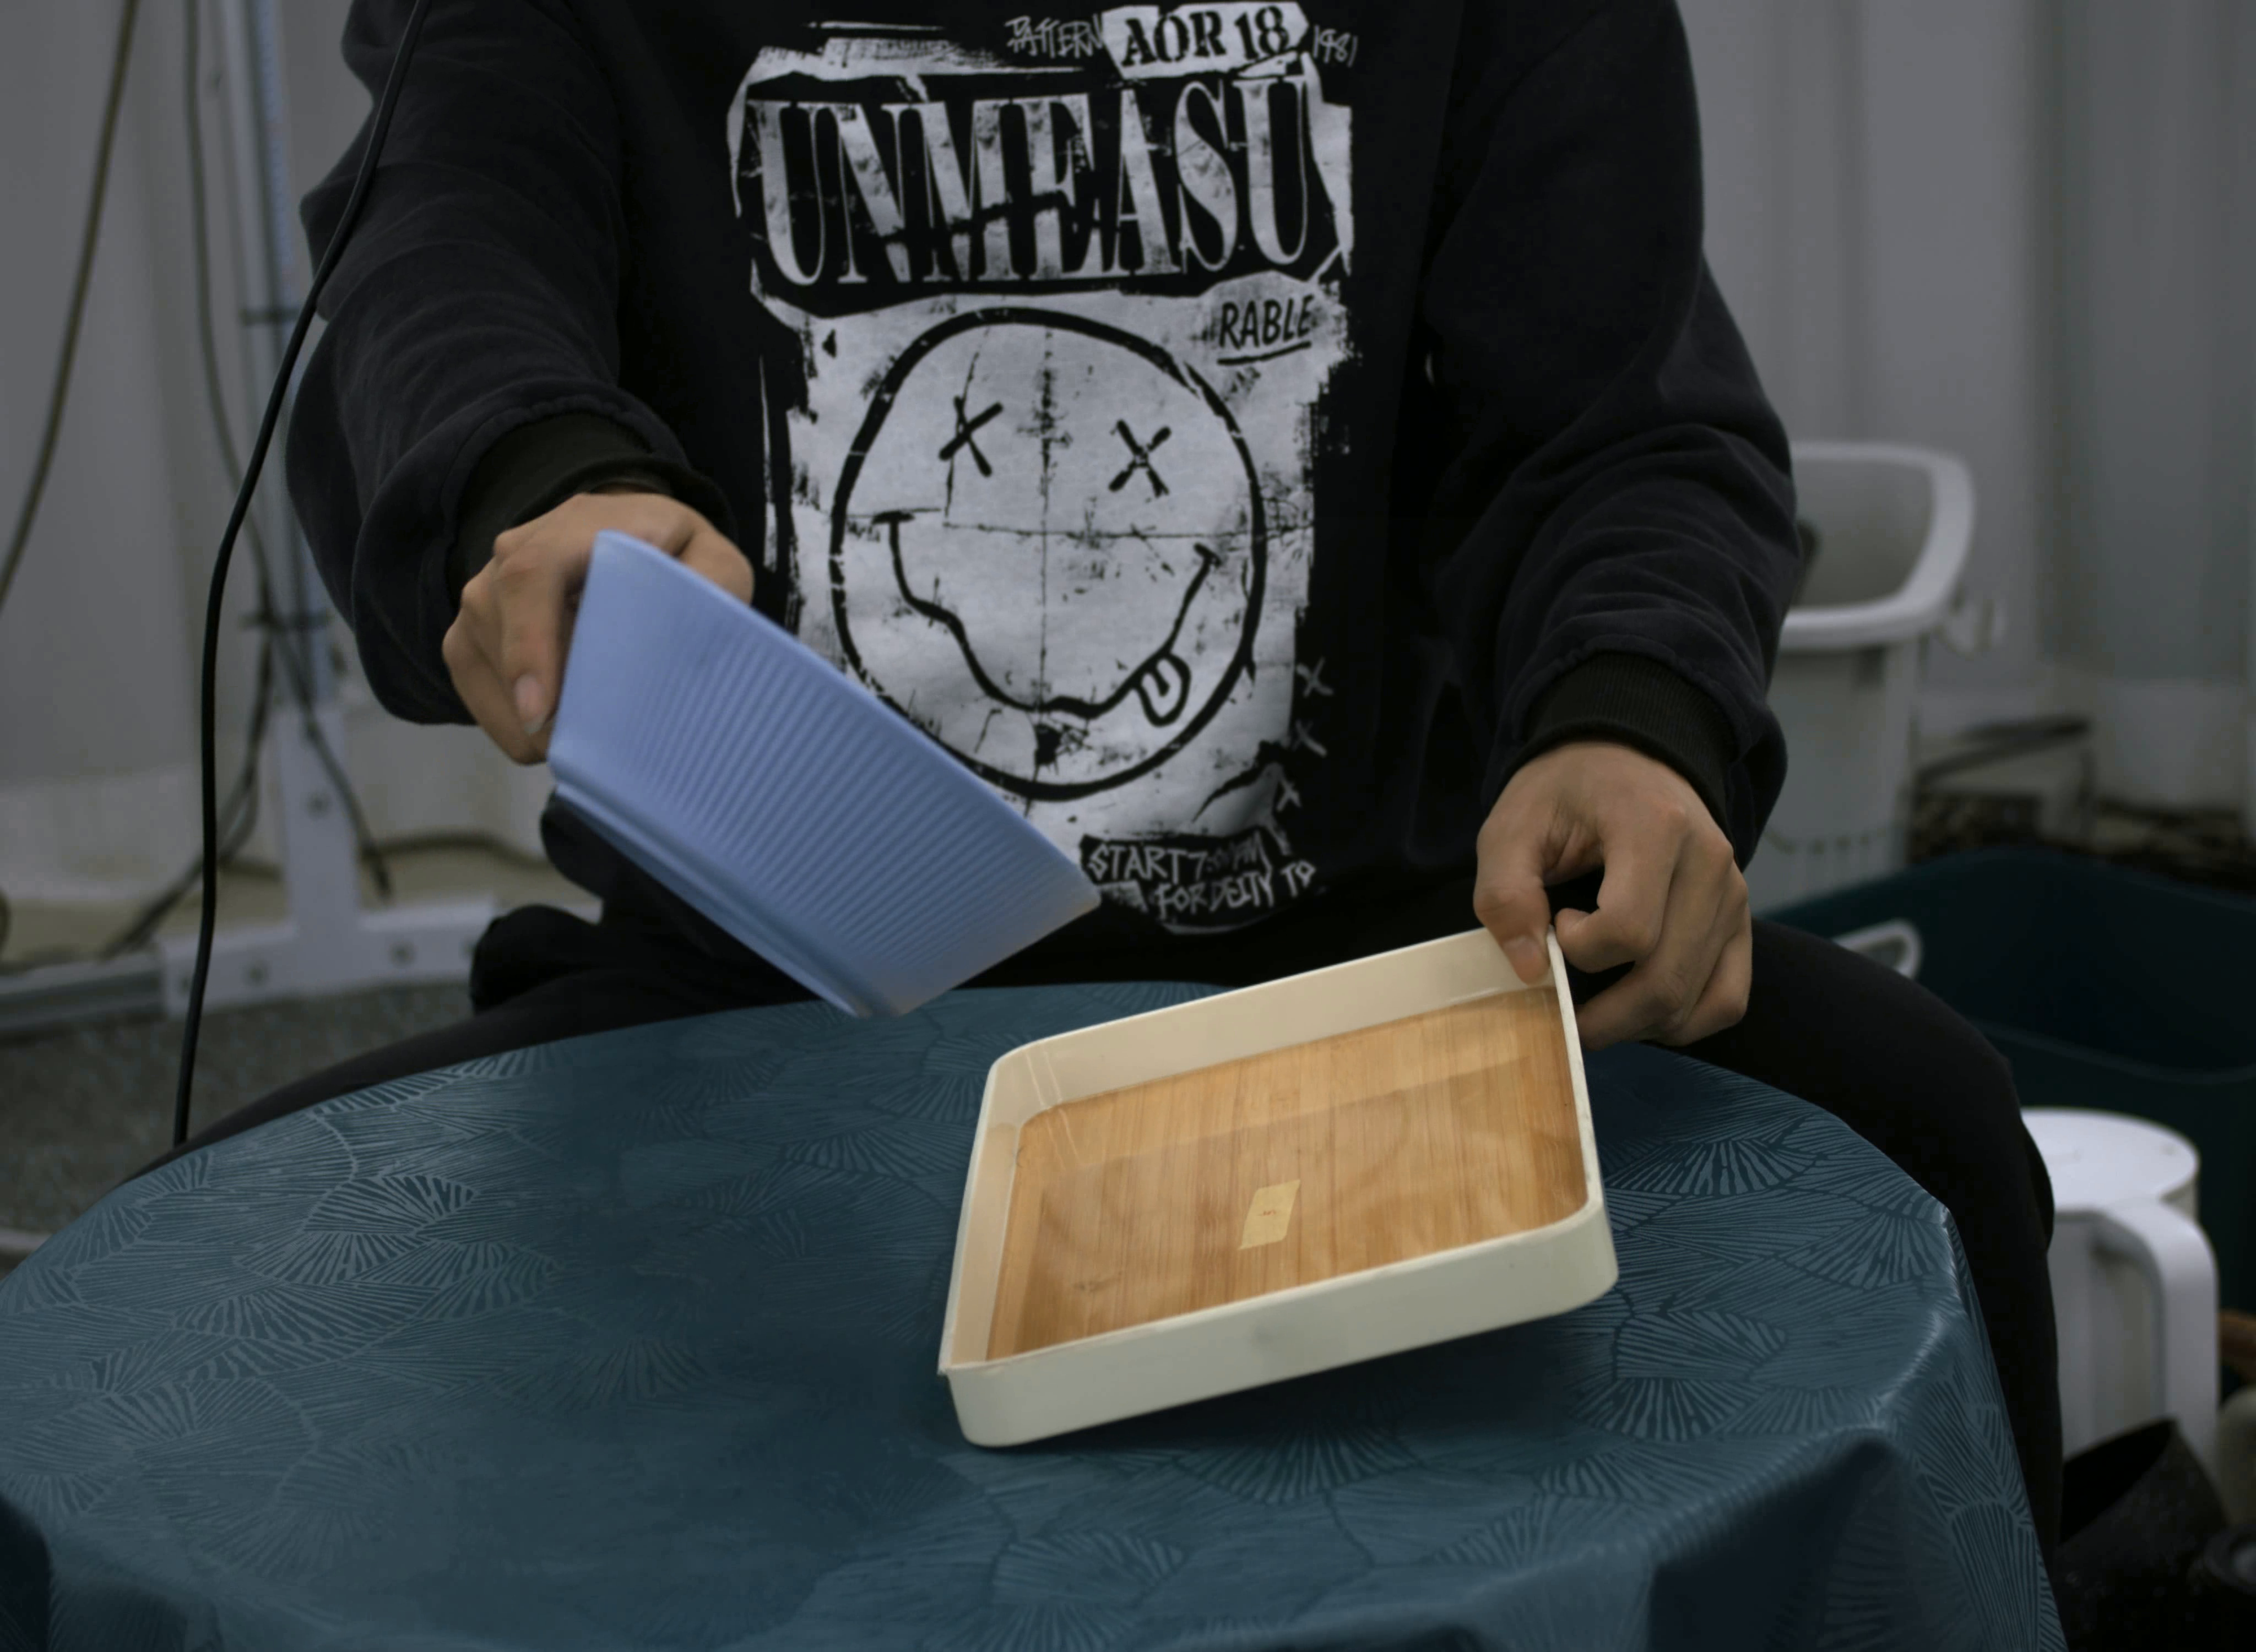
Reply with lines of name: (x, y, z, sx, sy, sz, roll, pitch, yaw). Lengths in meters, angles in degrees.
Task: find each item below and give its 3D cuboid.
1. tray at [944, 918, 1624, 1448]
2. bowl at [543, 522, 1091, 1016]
tray: (0.046, 0.102, 1.631, 0.191, 0.027, 0.302, -14, 14, 5)
bowl: (-0.099, -0.006, 1.537, 0.176, 0.070, 0.175, 36, -6, 4)
